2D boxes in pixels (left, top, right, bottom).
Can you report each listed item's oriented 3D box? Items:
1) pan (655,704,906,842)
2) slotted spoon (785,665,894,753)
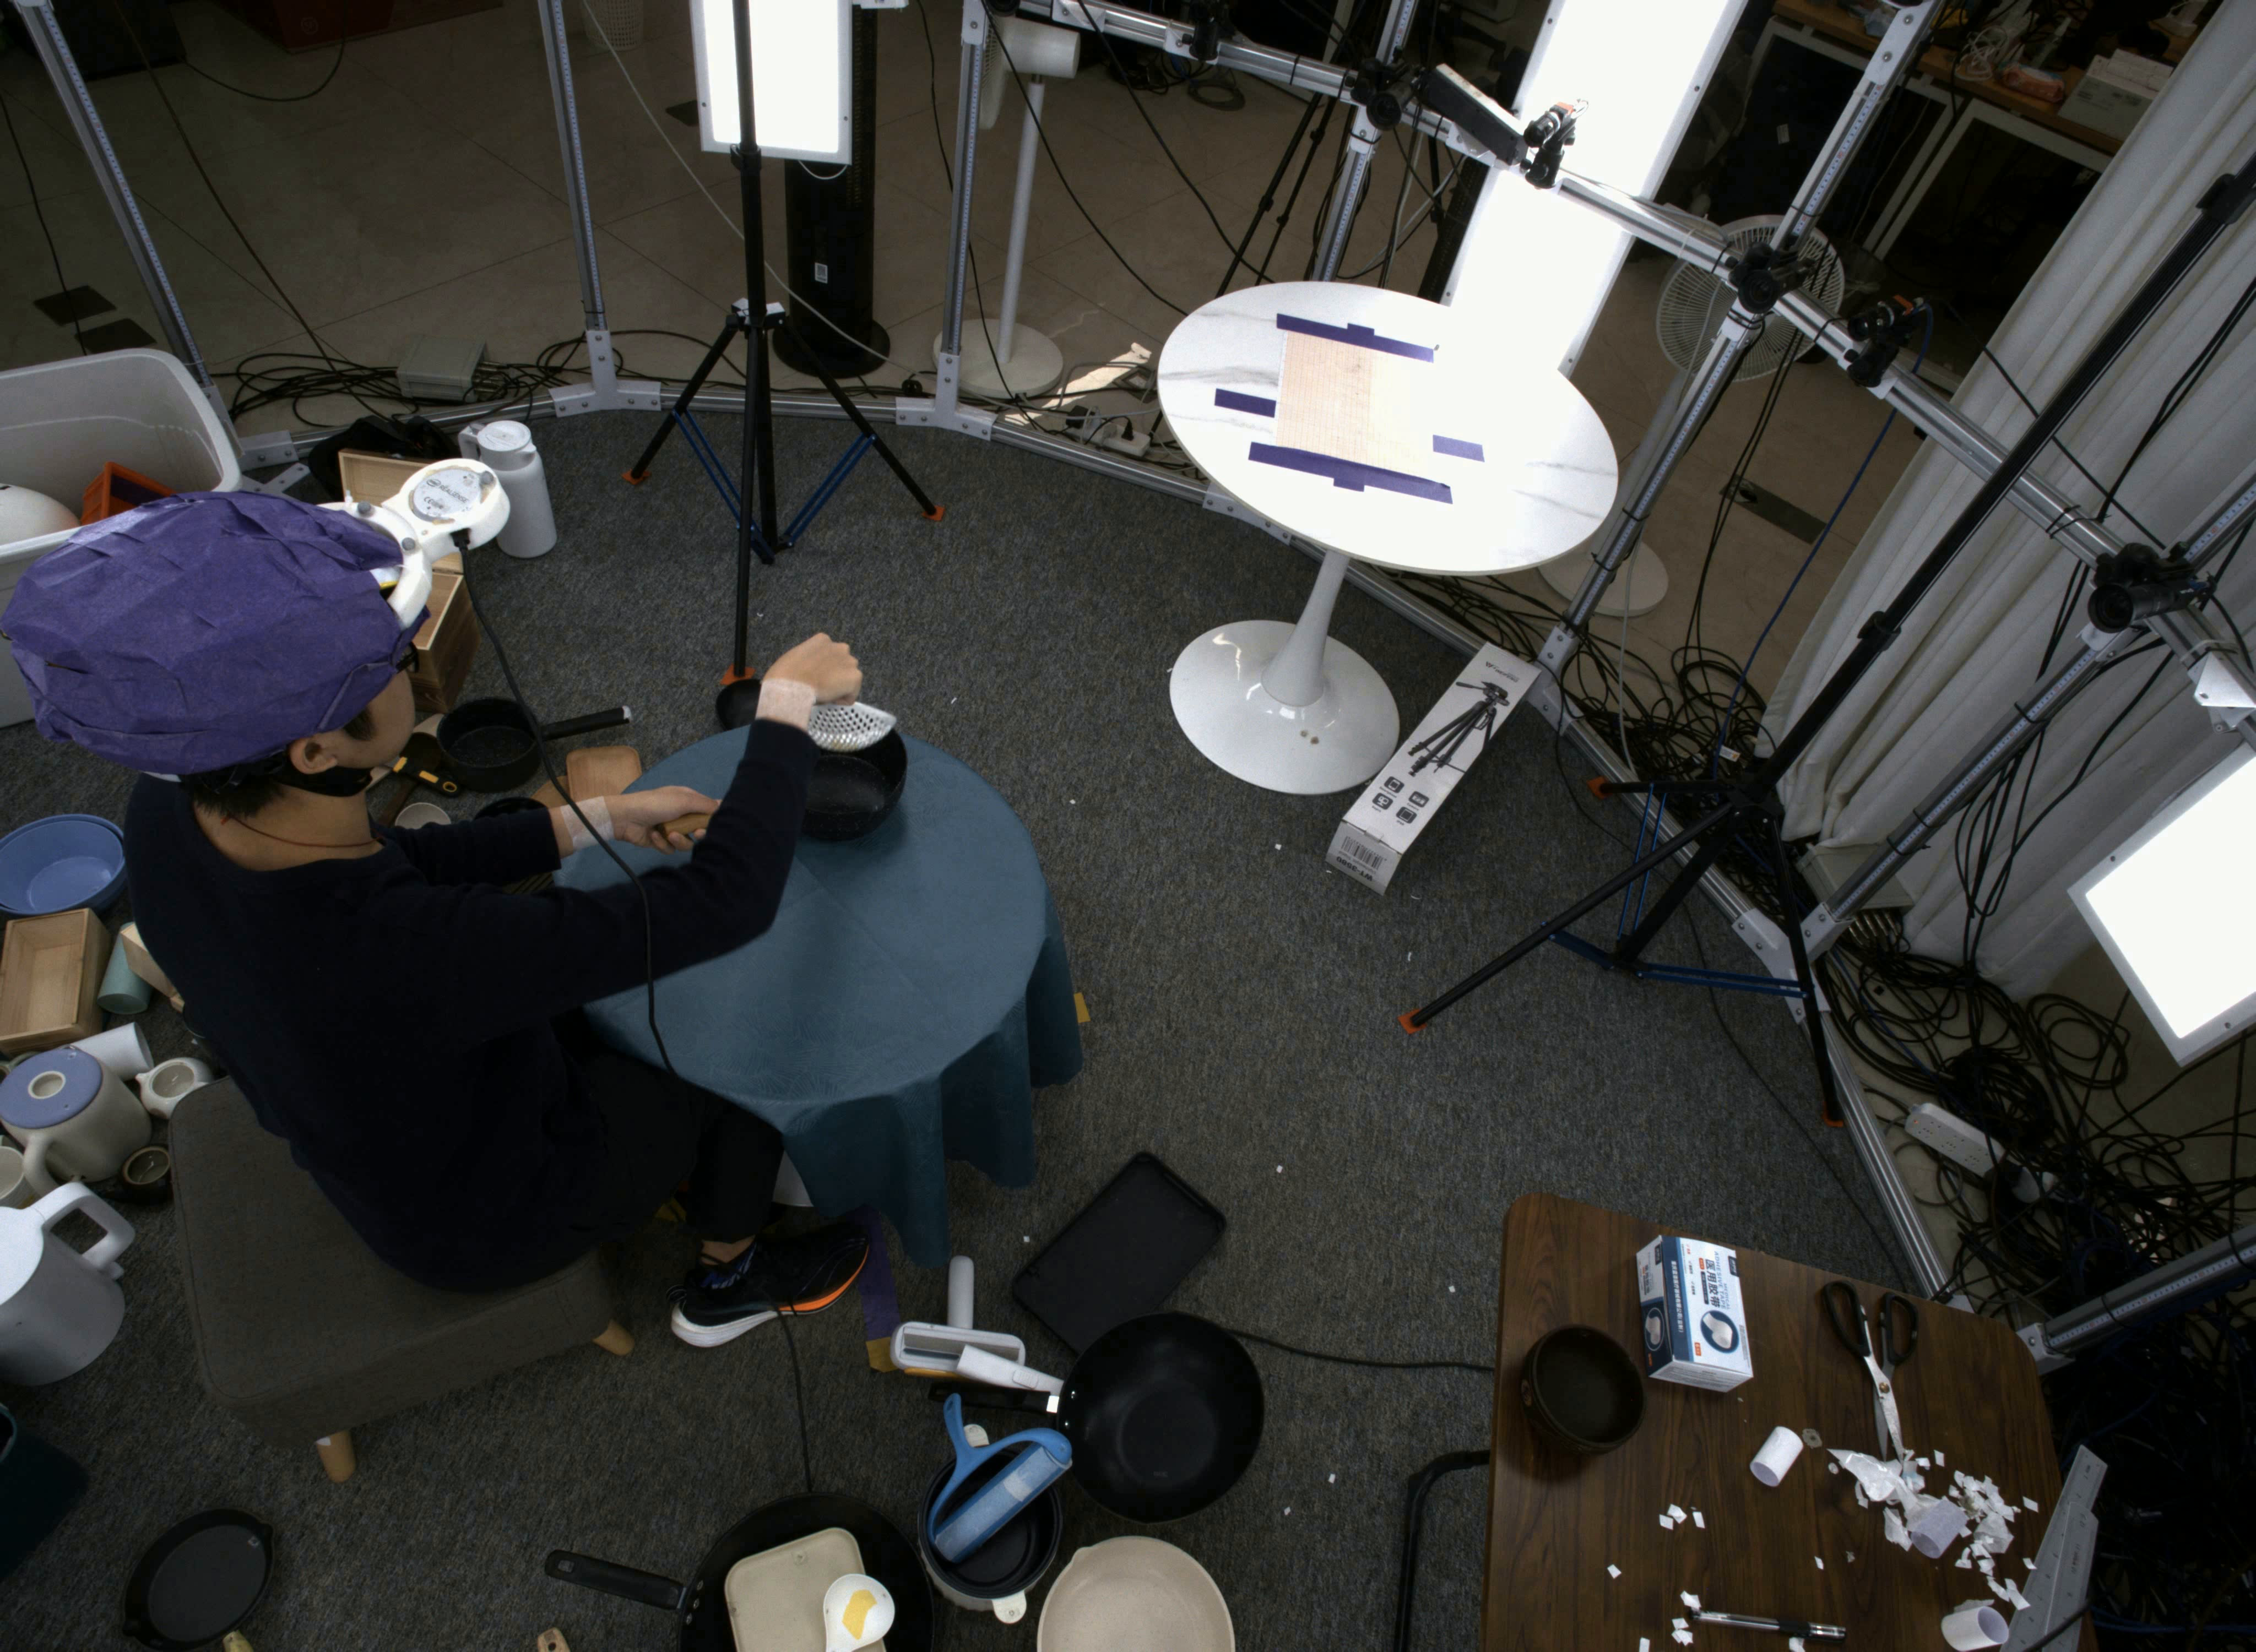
[{"bbox_3d":[-0.445,-0.038,1.667,0.344,0.110,0.203,-30,66,-33],"label":"pan"},{"bbox_3d":[-0.352,-0.145,1.548,0.136,0.349,0.050,-3,75,-9],"label":"slotted spoon"}]
